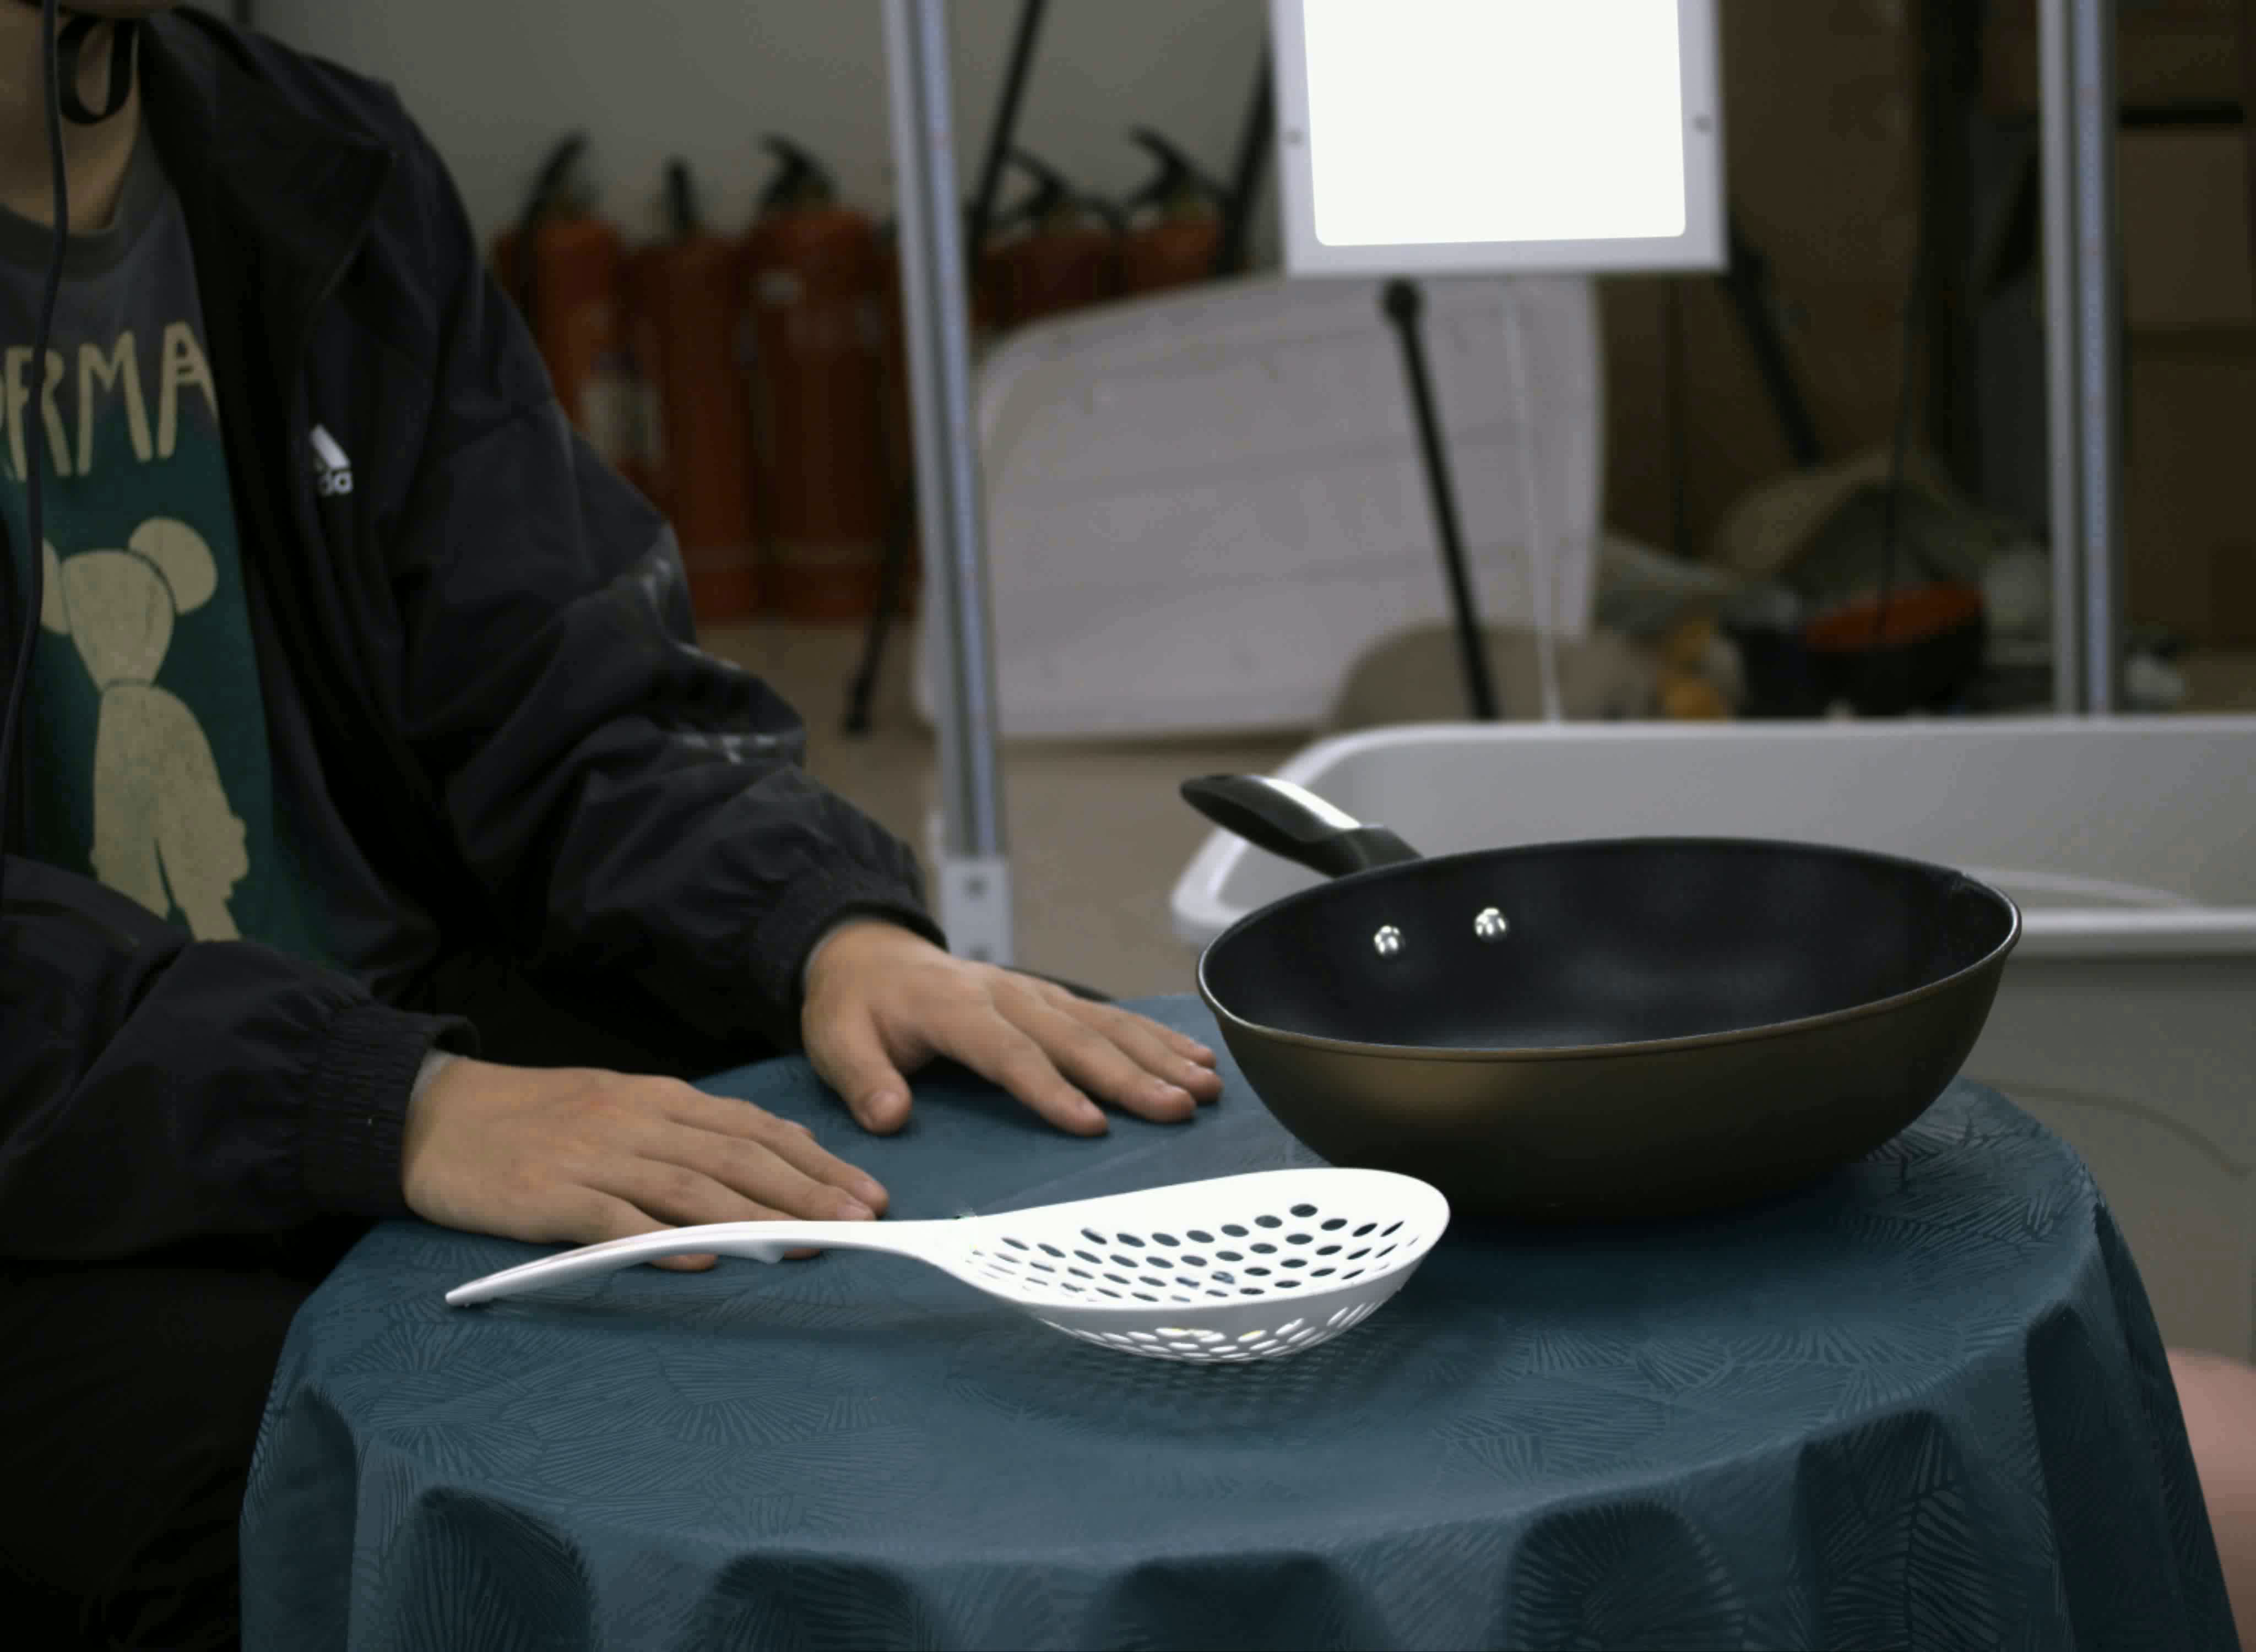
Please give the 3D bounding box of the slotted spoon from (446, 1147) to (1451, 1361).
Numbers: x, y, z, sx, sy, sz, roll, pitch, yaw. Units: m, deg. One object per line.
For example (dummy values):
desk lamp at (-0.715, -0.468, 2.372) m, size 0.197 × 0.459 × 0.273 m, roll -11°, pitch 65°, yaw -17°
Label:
slotted spoon at (-0.064, 0.142, 1.770) m, size 0.353 × 0.050 × 0.134 m, roll 1°, pitch 17°, yaw 24°

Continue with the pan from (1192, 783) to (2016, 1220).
pan at (0.128, 0.058, 1.955) m, size 0.283 × 0.087 × 0.470 m, roll -10°, pitch 13°, yaw -21°
